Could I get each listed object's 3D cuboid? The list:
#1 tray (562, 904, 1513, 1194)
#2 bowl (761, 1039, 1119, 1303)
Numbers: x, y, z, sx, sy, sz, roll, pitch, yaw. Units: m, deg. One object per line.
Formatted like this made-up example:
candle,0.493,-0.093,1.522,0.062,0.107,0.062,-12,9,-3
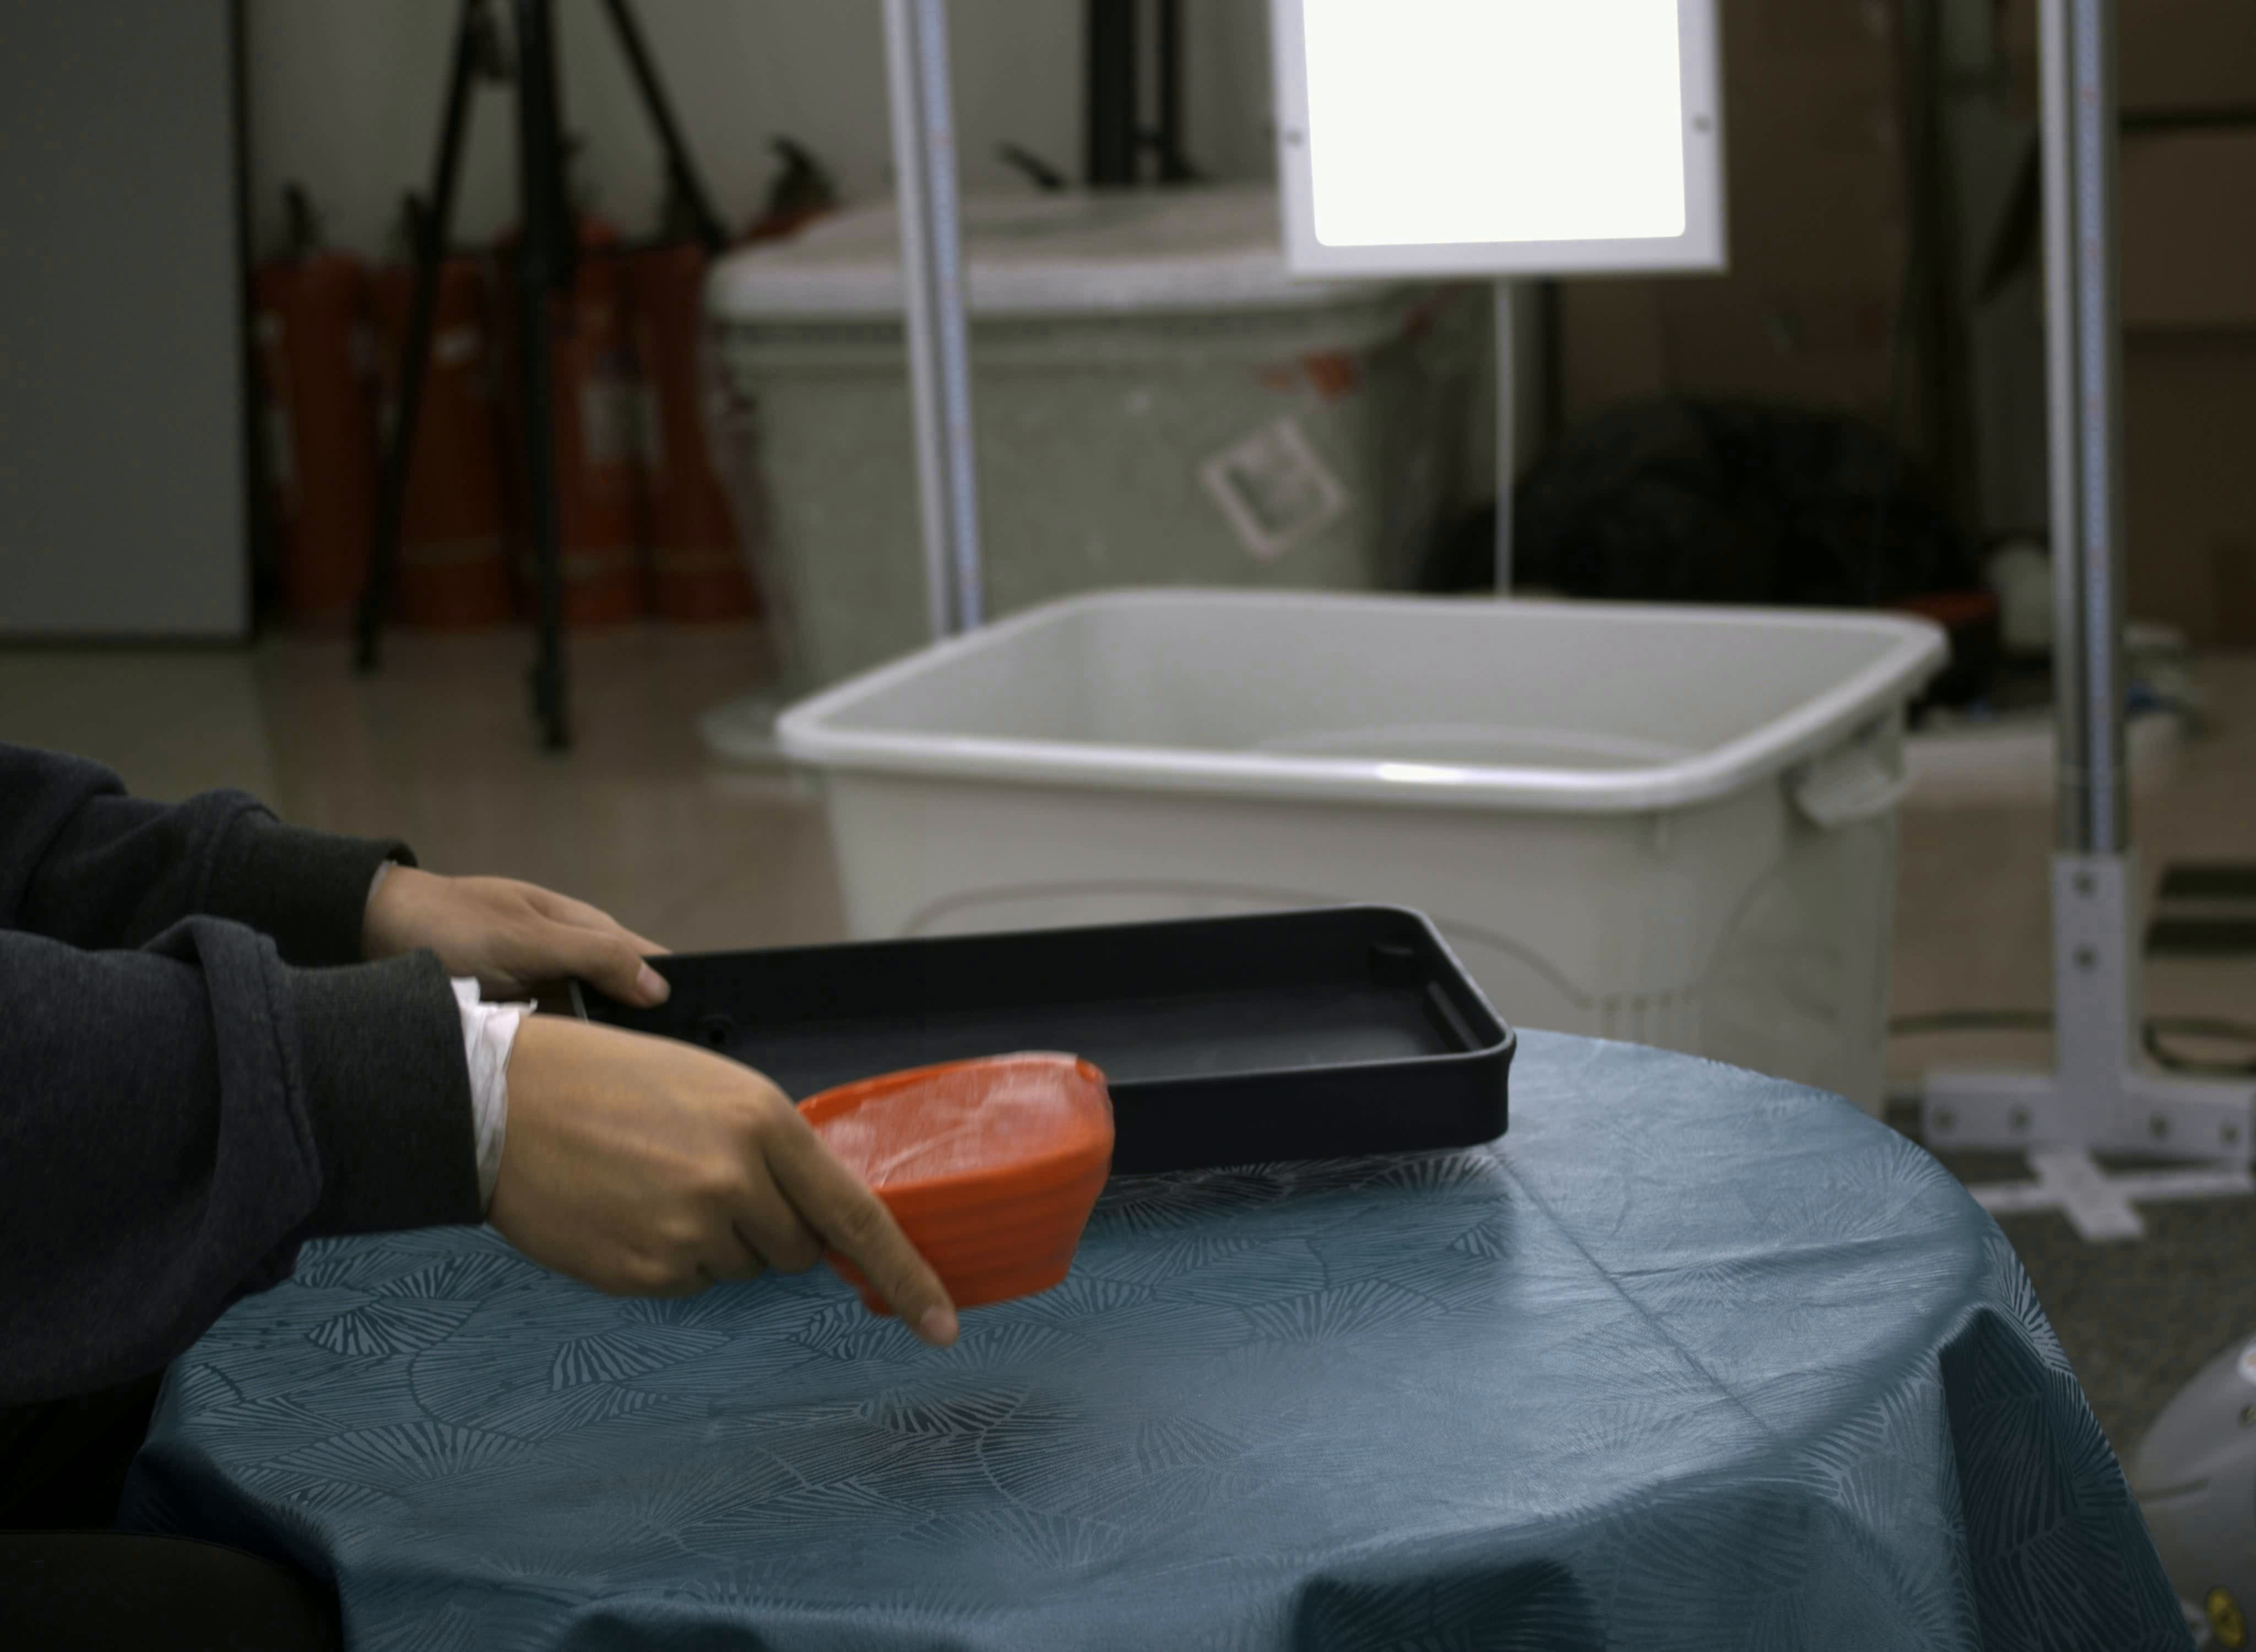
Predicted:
tray,-0.035,0.076,1.933,0.315,0.037,0.185,-3,16,-7
bowl,-0.054,0.108,1.678,0.119,0.051,0.119,-9,16,1
